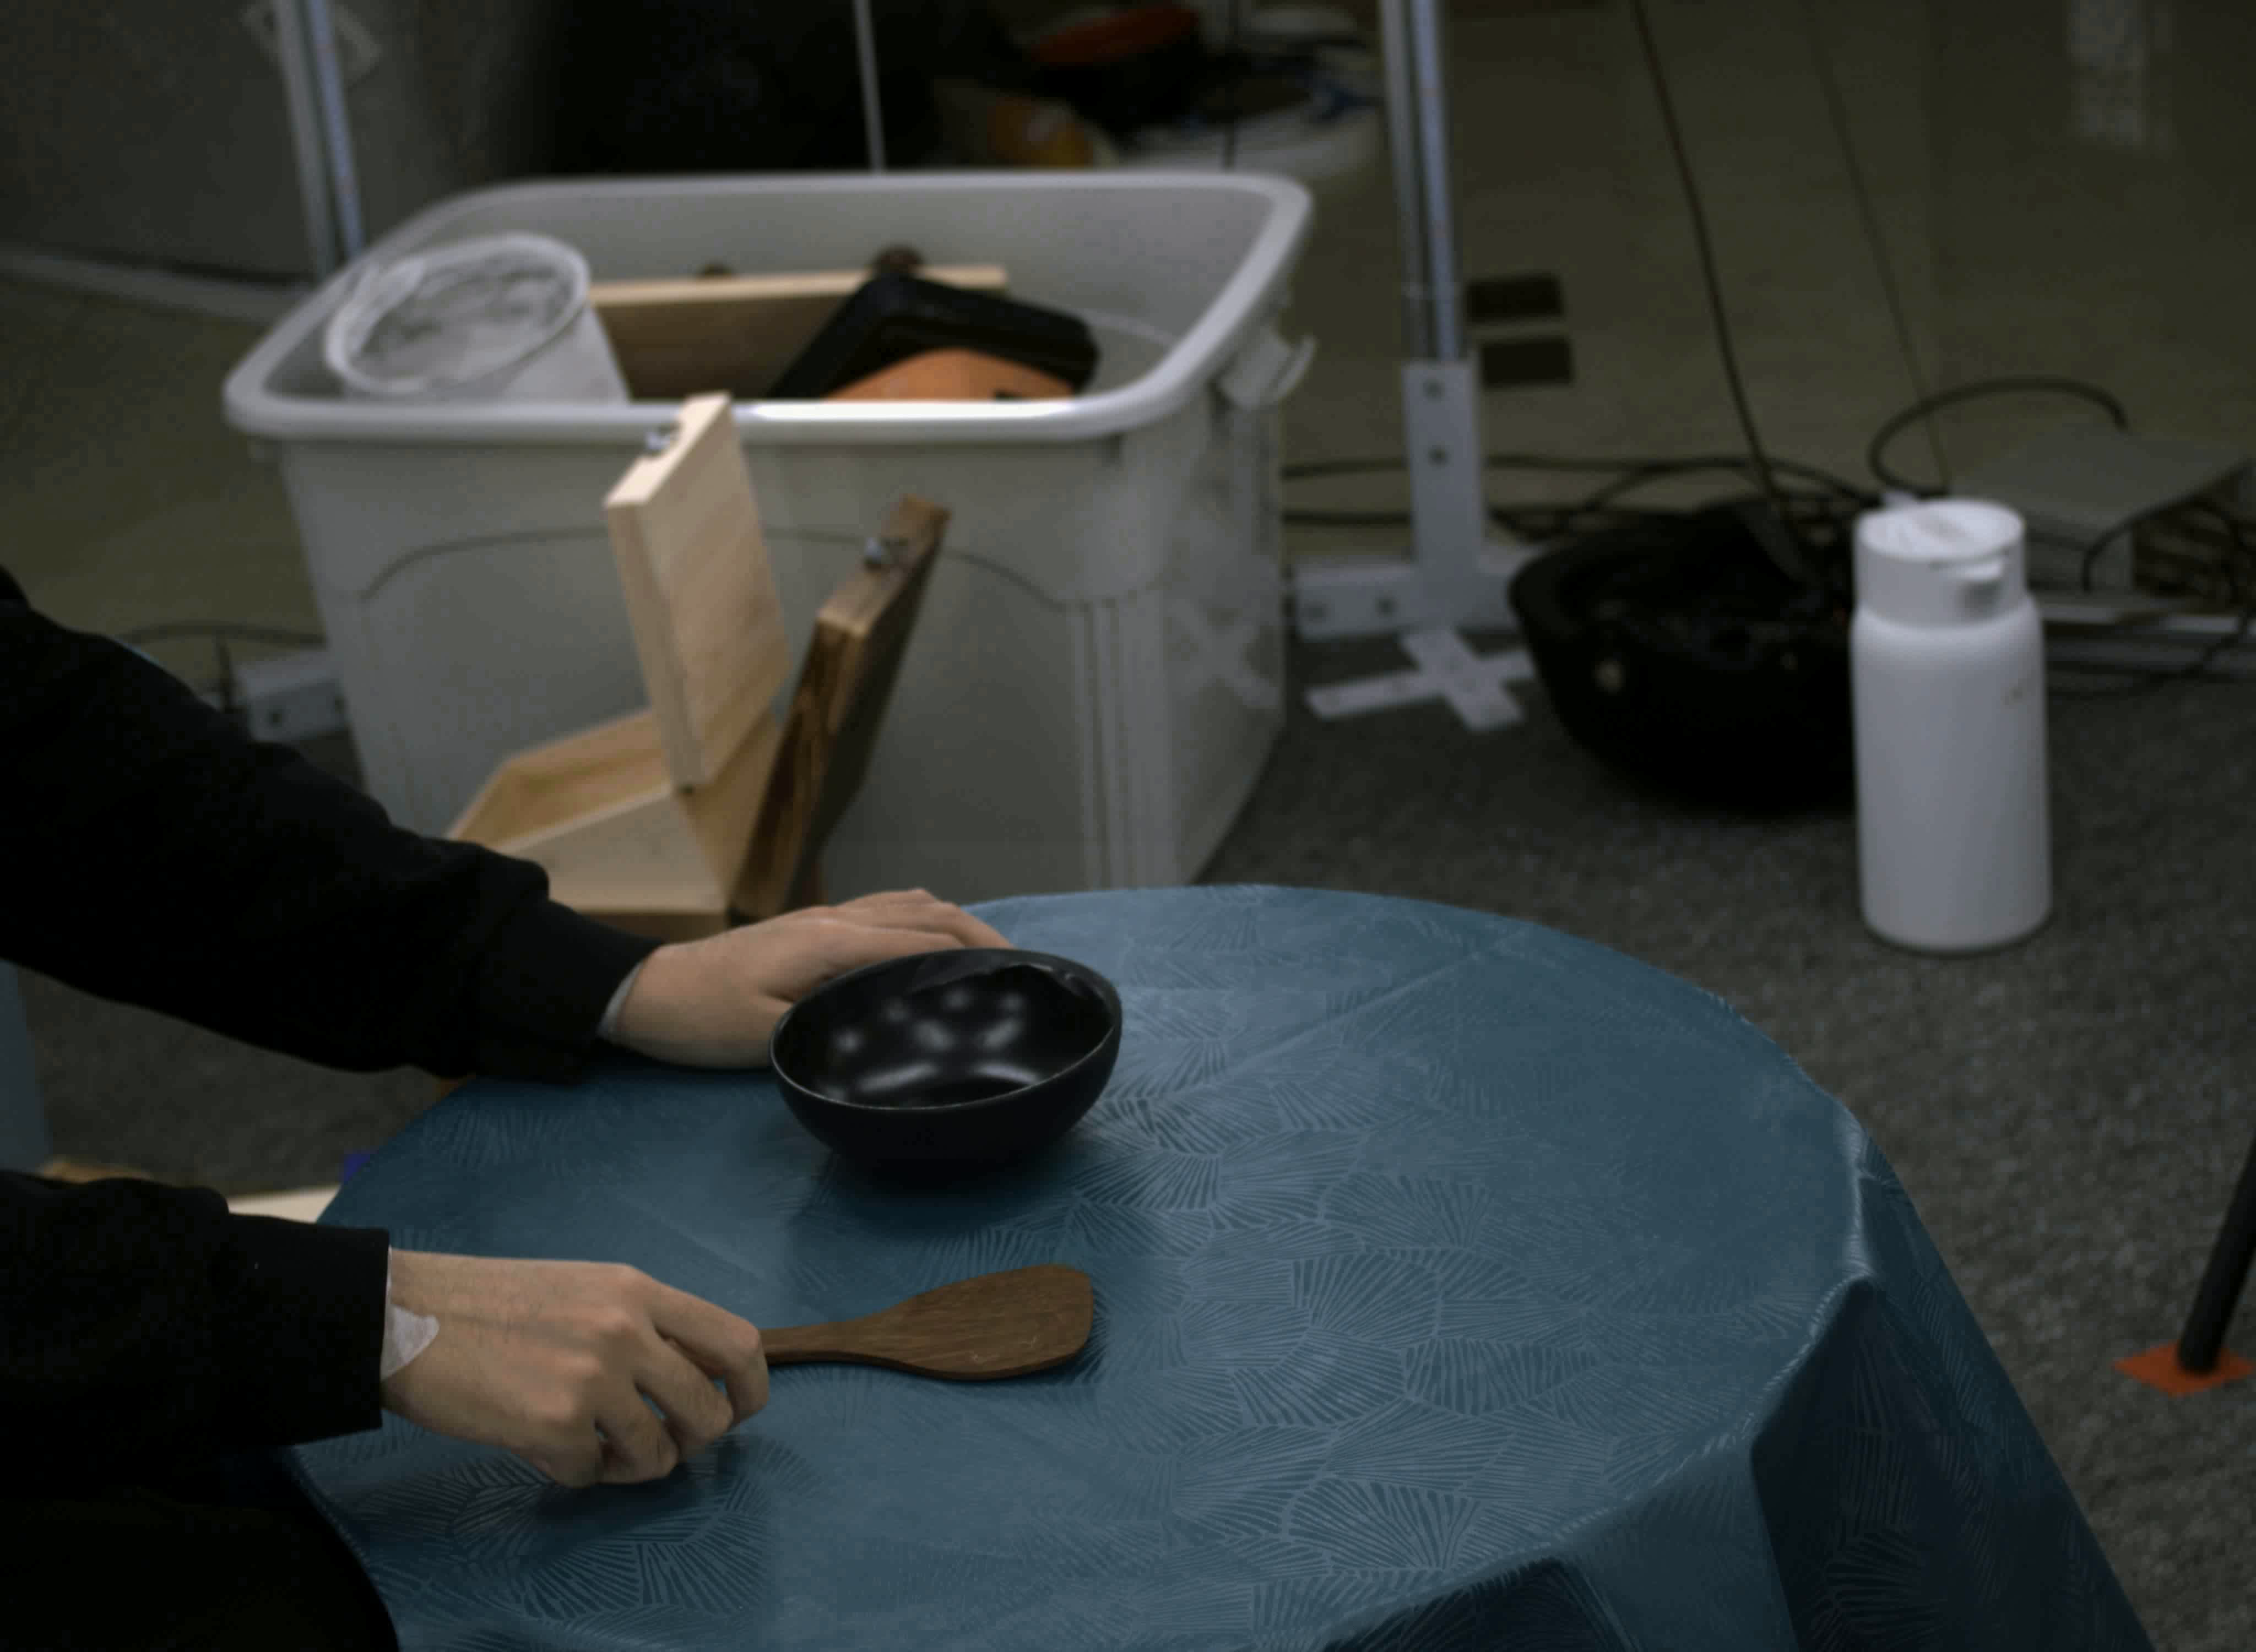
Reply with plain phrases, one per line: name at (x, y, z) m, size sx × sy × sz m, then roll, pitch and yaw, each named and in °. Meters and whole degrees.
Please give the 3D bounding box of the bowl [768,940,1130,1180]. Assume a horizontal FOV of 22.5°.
bowl at (-0.068, 0.098, 2.197) m, size 0.140 × 0.050 × 0.138 m, roll -4°, pitch 28°, yaw 2°

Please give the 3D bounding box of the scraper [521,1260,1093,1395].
scraper at (-0.117, 0.189, 2.066) m, size 0.211 × 0.011 × 0.075 m, roll -6°, pitch 24°, yaw 2°
